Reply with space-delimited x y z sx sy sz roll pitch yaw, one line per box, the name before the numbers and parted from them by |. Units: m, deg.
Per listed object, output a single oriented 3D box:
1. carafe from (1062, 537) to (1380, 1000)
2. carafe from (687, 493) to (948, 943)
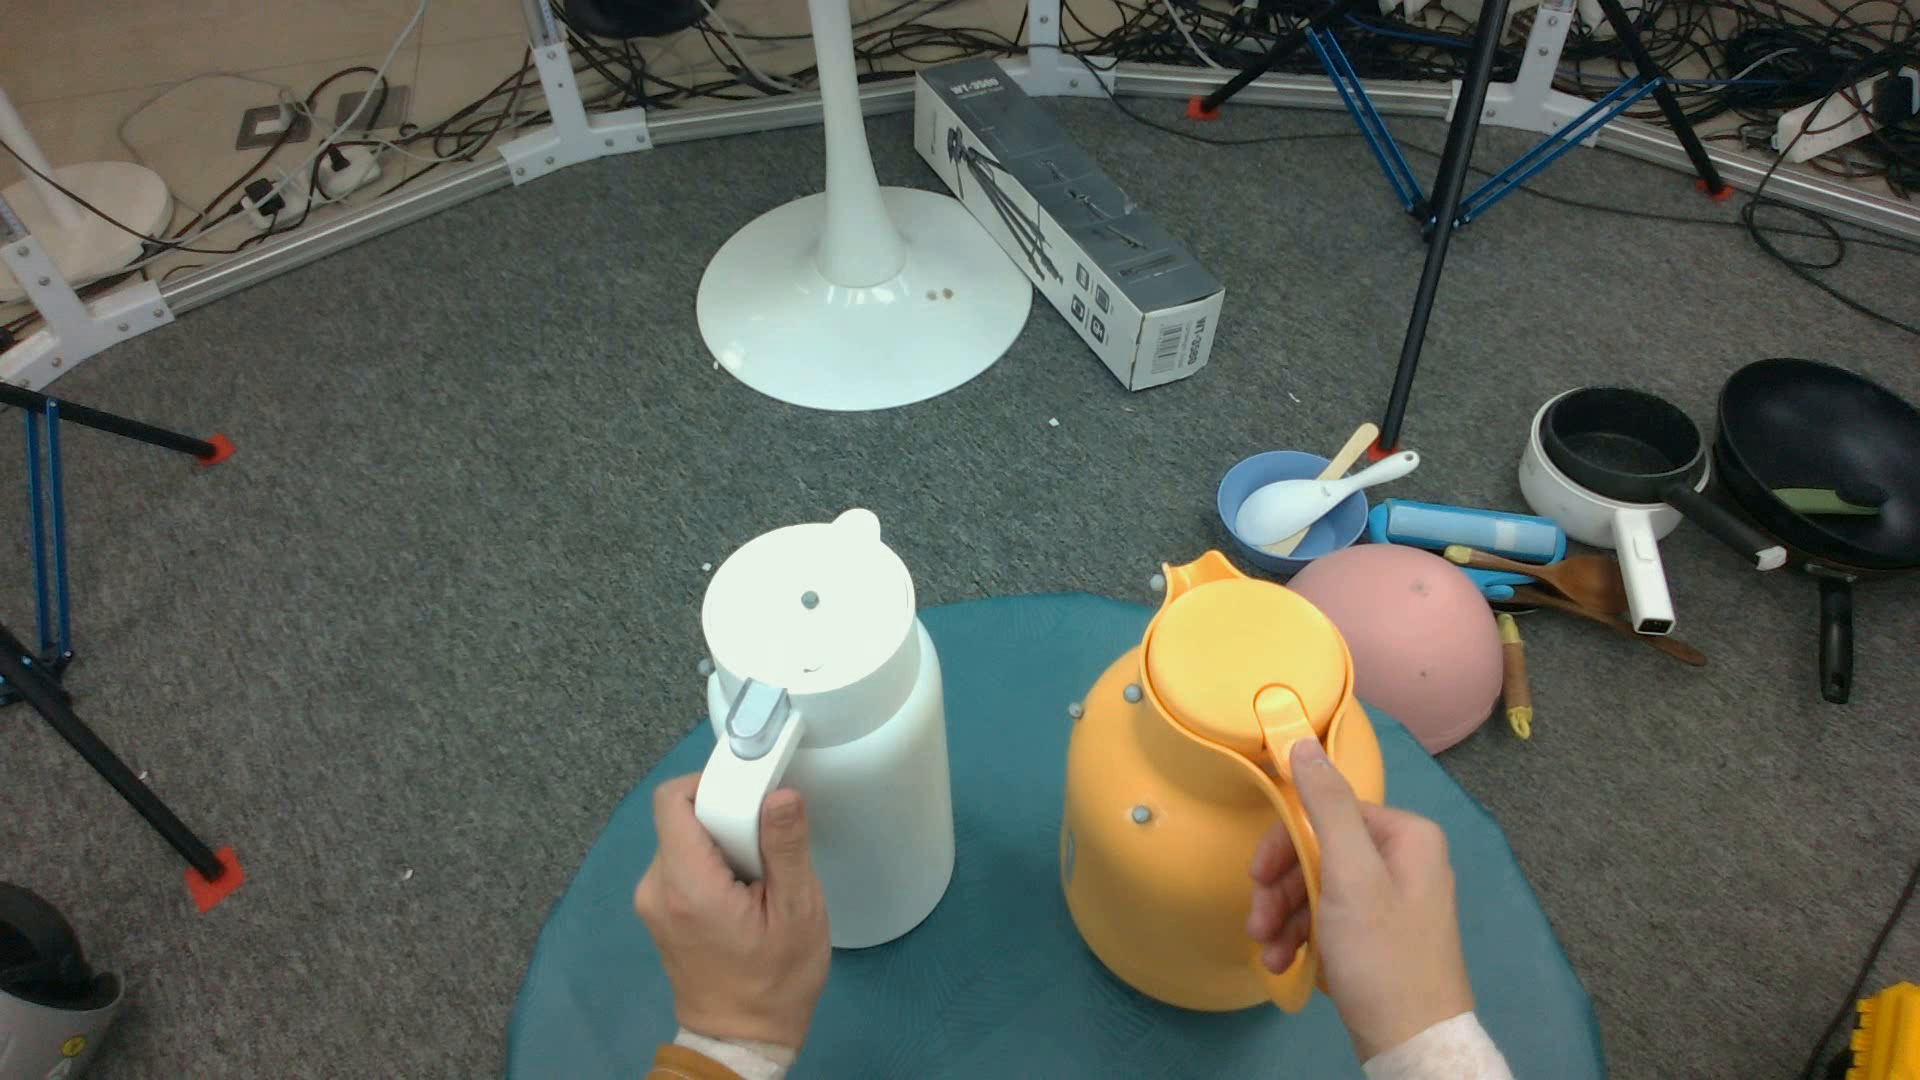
carafe | 0.138 0.137 0.707 0.163 0.259 0.203 -14 50 -5
carafe | -0.073 0.122 0.723 0.124 0.267 0.173 15 53 11
